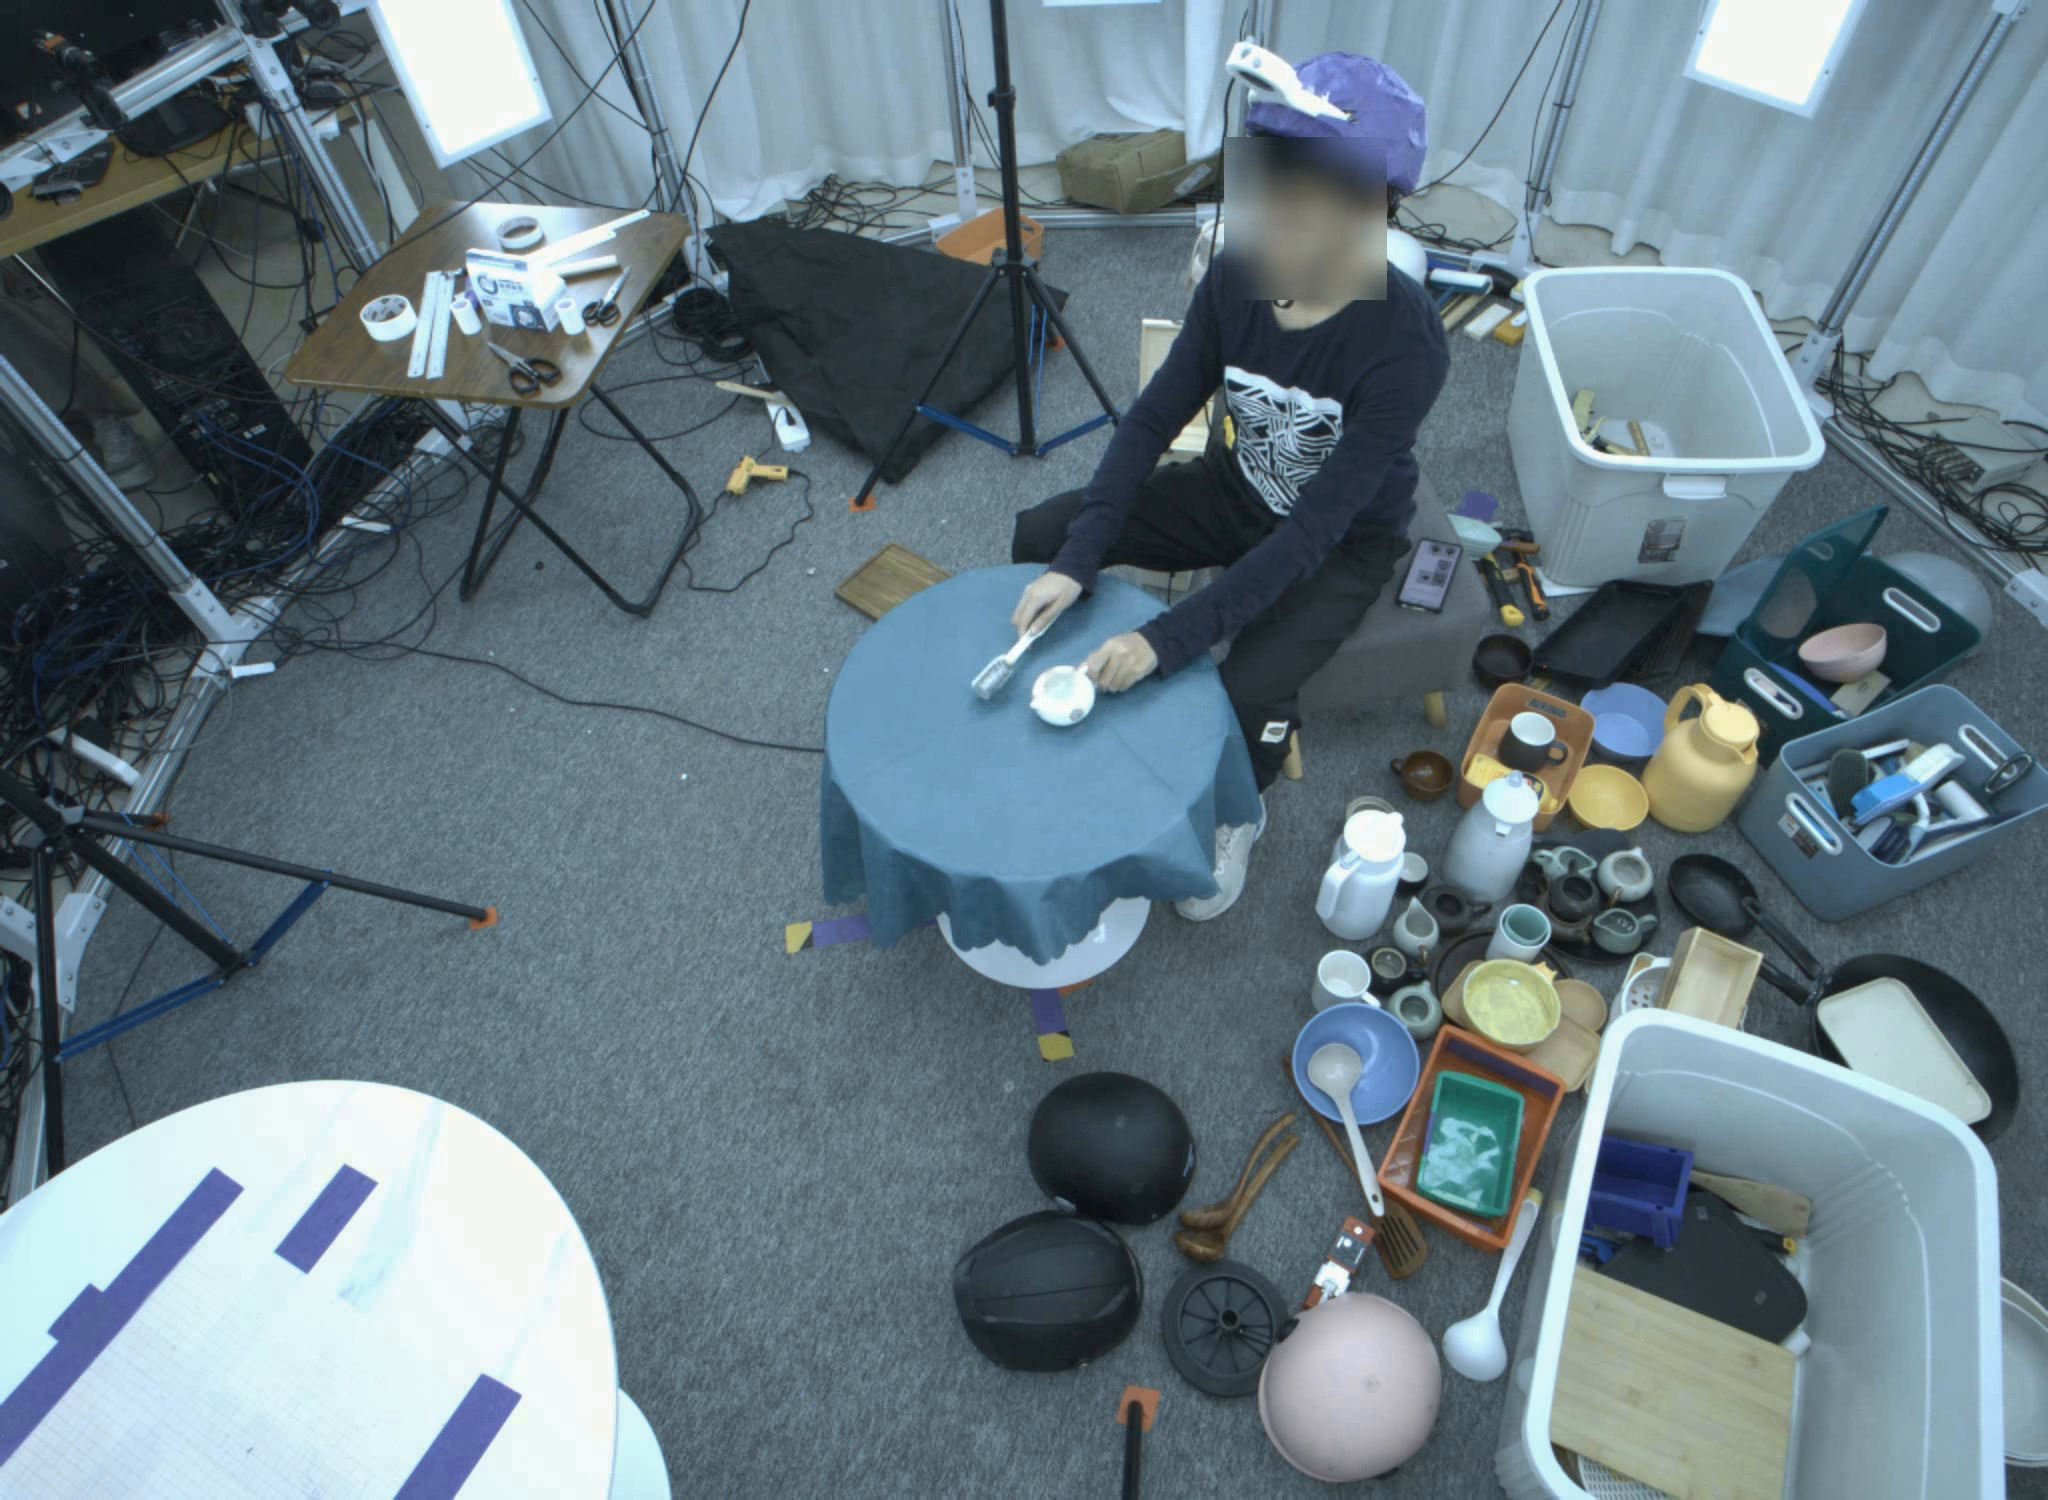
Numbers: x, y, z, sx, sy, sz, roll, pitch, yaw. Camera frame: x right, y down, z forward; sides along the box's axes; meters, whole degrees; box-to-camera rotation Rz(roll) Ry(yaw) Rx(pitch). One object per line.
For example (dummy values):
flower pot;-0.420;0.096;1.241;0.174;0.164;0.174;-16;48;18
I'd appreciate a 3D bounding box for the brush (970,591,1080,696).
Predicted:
brush;0.007;-0.167;1.854;0.034;0.050;0.245;46;69;-2

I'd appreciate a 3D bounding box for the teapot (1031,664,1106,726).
teapot;0.066;-0.084;1.799;0.128;0.057;0.091;-37;52;-15
